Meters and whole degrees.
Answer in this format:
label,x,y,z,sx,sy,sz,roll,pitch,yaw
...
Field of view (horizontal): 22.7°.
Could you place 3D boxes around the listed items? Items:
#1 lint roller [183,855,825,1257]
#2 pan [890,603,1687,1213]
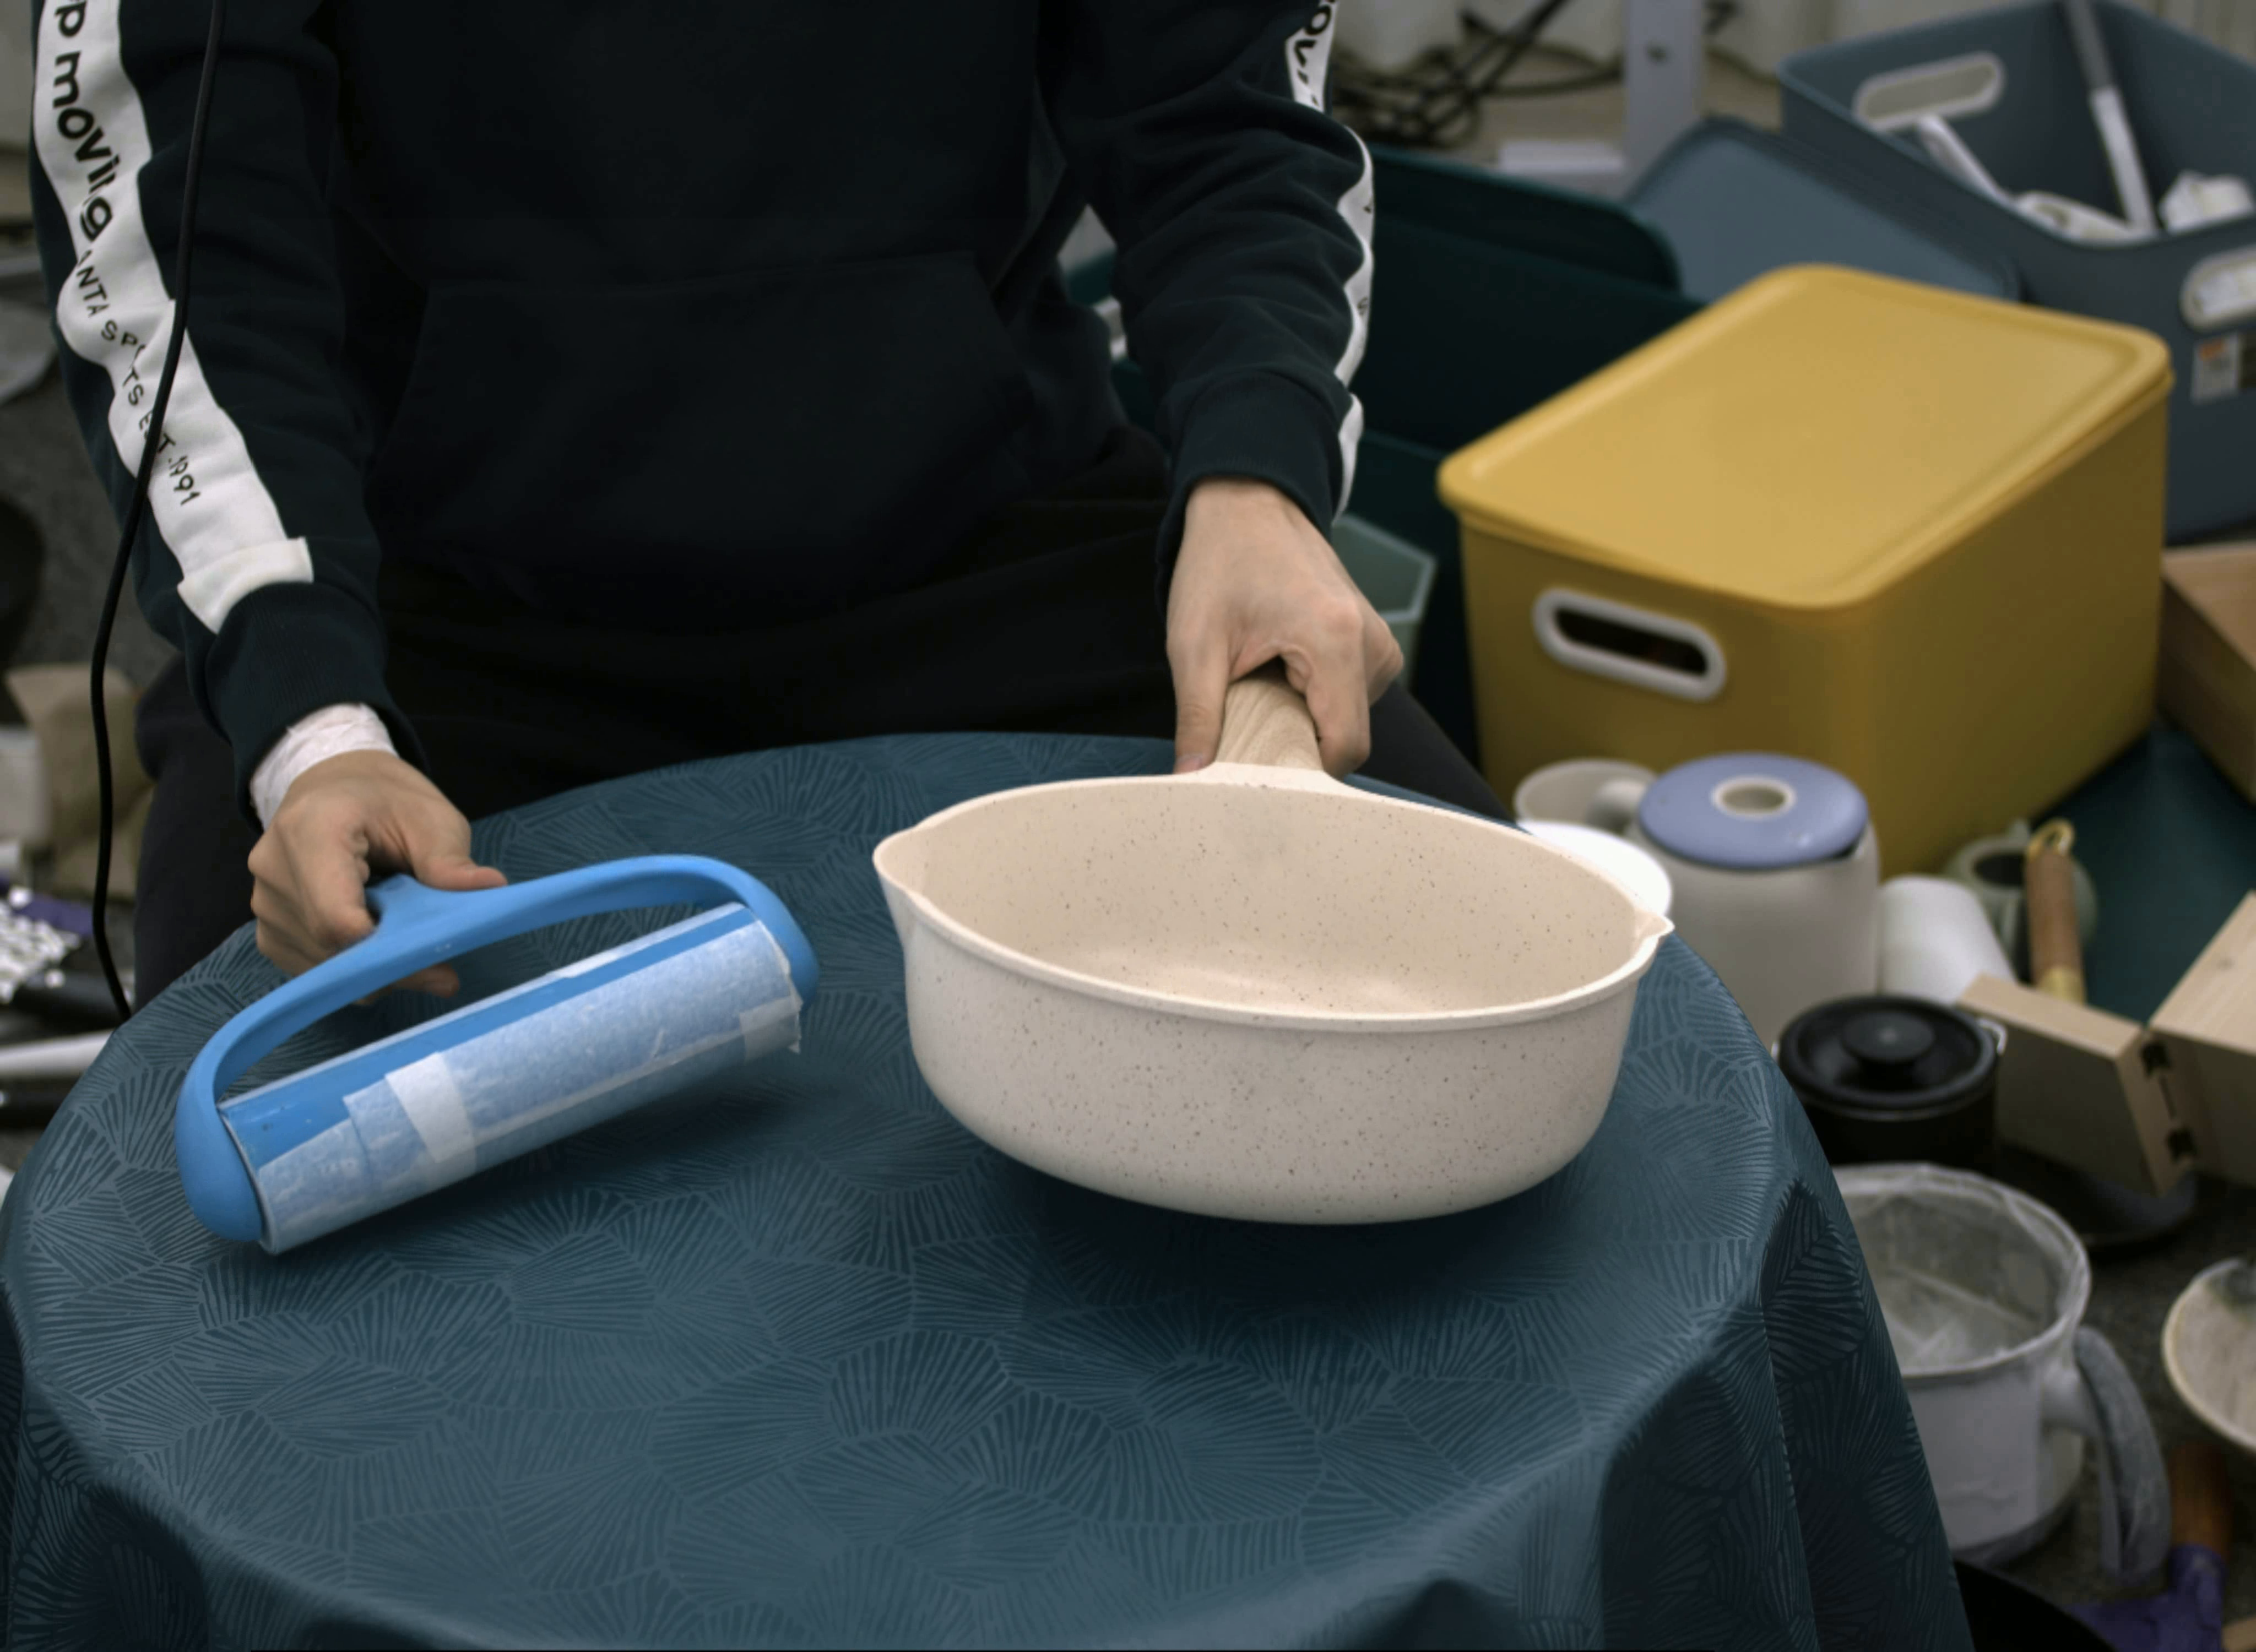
label,x,y,z,sx,sy,sz,roll,pitch,yaw
lint roller,-0.236,0.055,1.916,0.230,0.067,0.181,-24,39,-23
pan,0.049,0.025,1.931,0.262,0.101,0.439,5,16,-2
